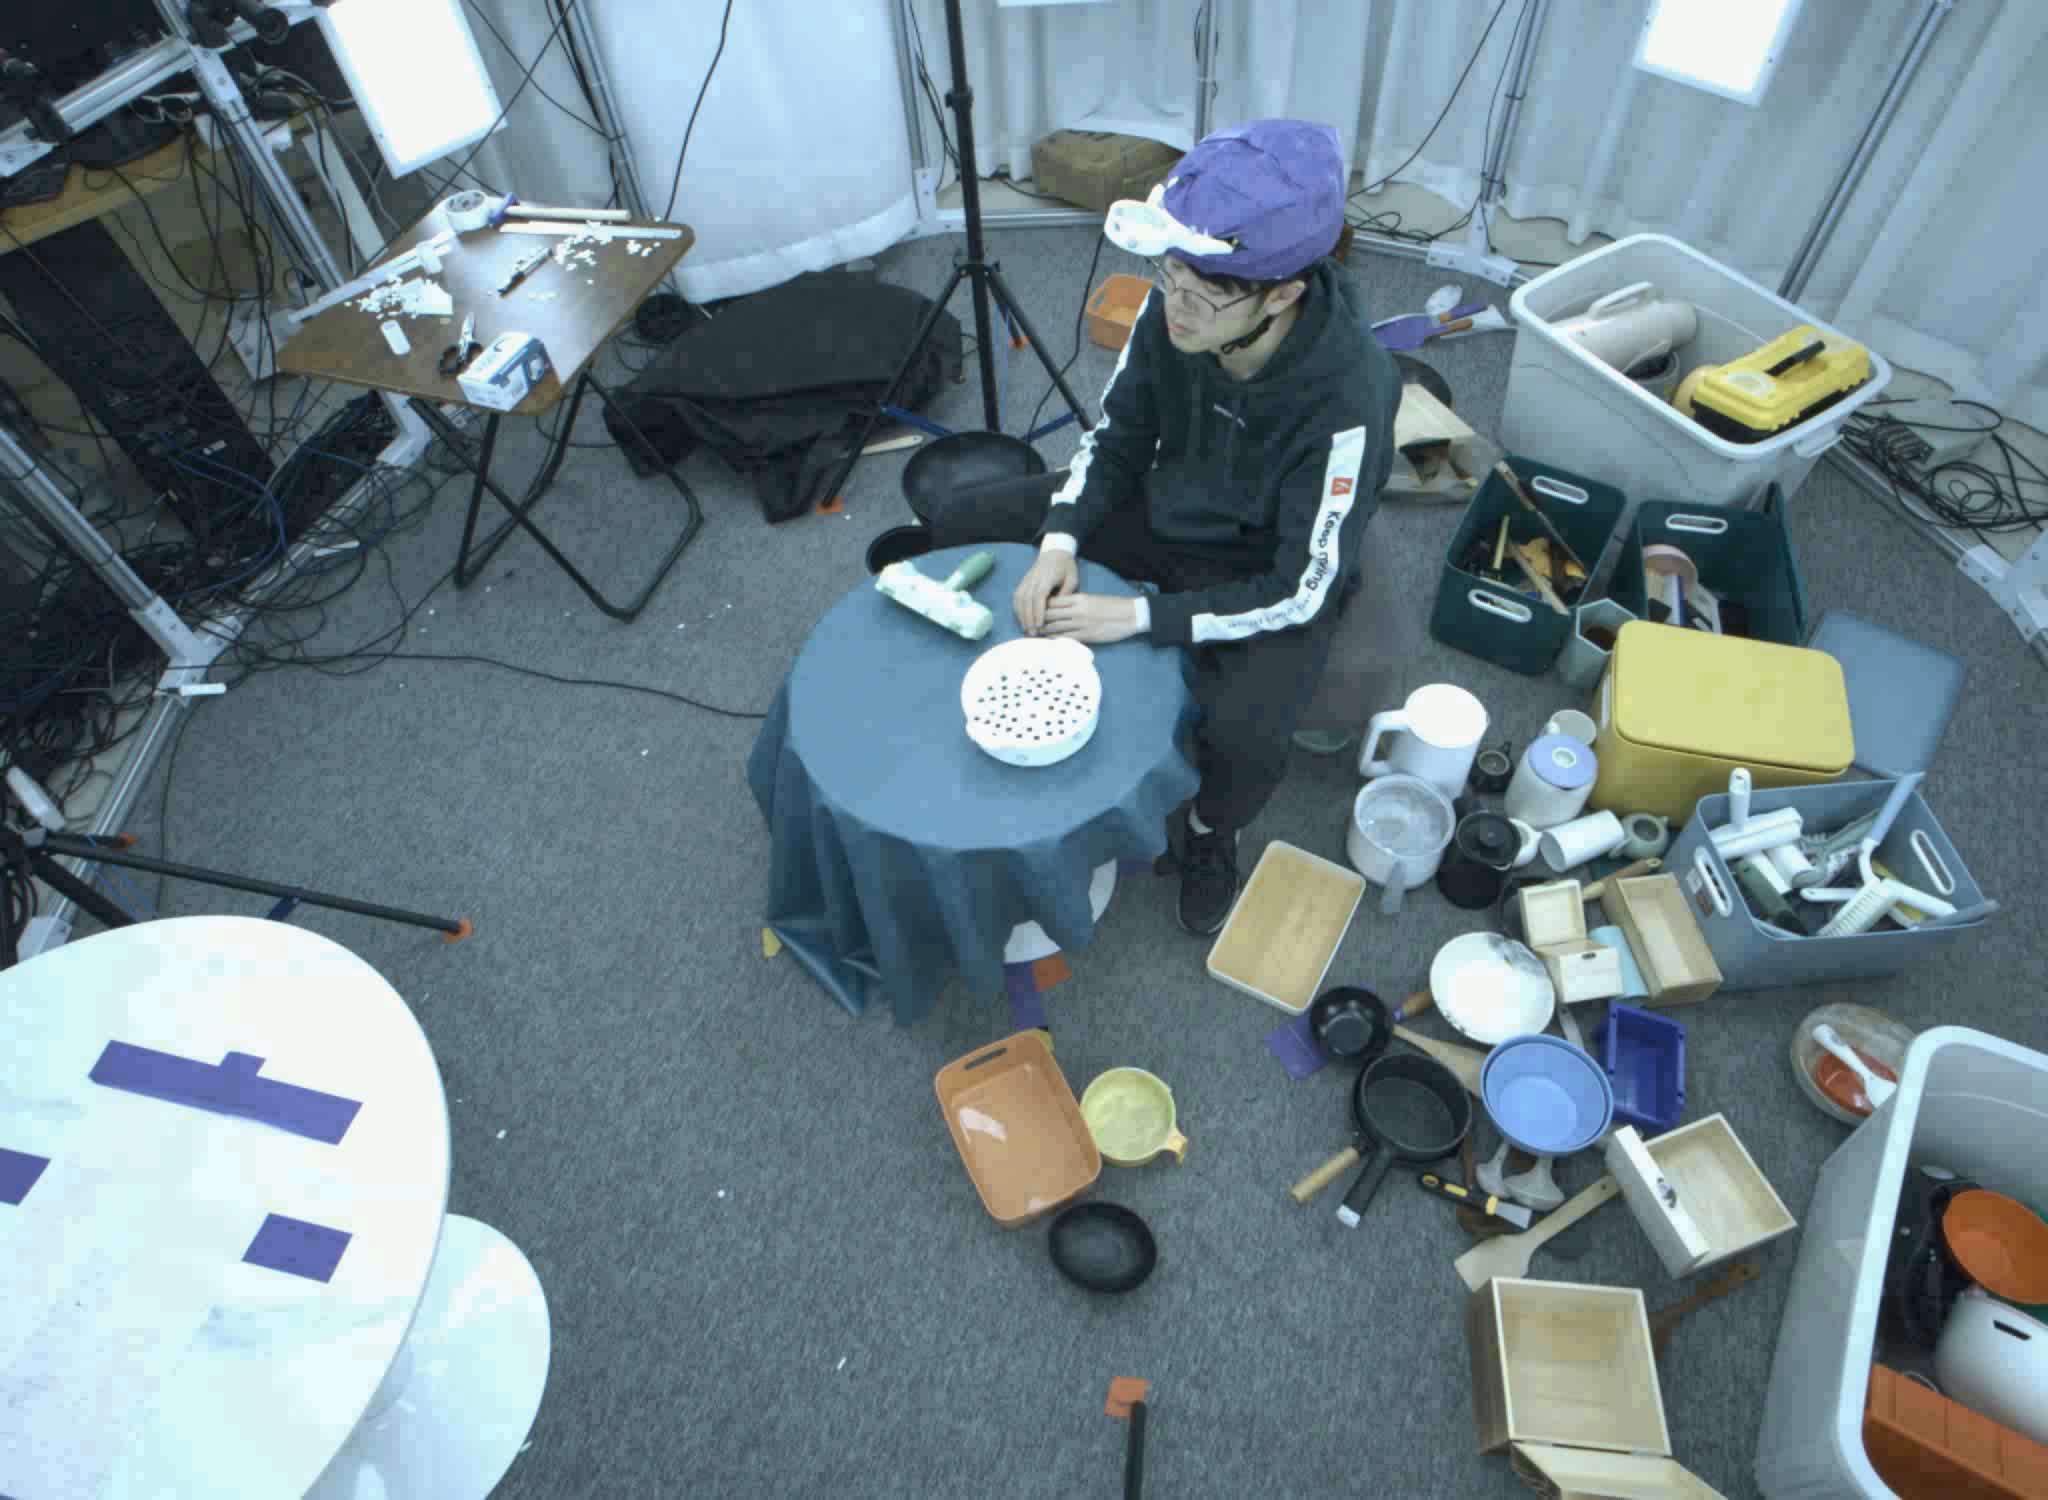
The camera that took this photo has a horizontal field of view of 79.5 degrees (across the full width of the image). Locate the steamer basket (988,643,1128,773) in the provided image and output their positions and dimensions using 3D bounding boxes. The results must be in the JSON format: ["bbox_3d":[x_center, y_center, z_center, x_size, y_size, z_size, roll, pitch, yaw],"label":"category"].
[{"bbox_3d":[0.050,-0.058,1.780,0.198,0.070,0.232,34,64,24],"label":"steamer basket"}]

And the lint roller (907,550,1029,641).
[{"bbox_3d":[-0.057,-0.275,1.933,0.195,0.083,0.184,32,66,23],"label":"lint roller"}]
